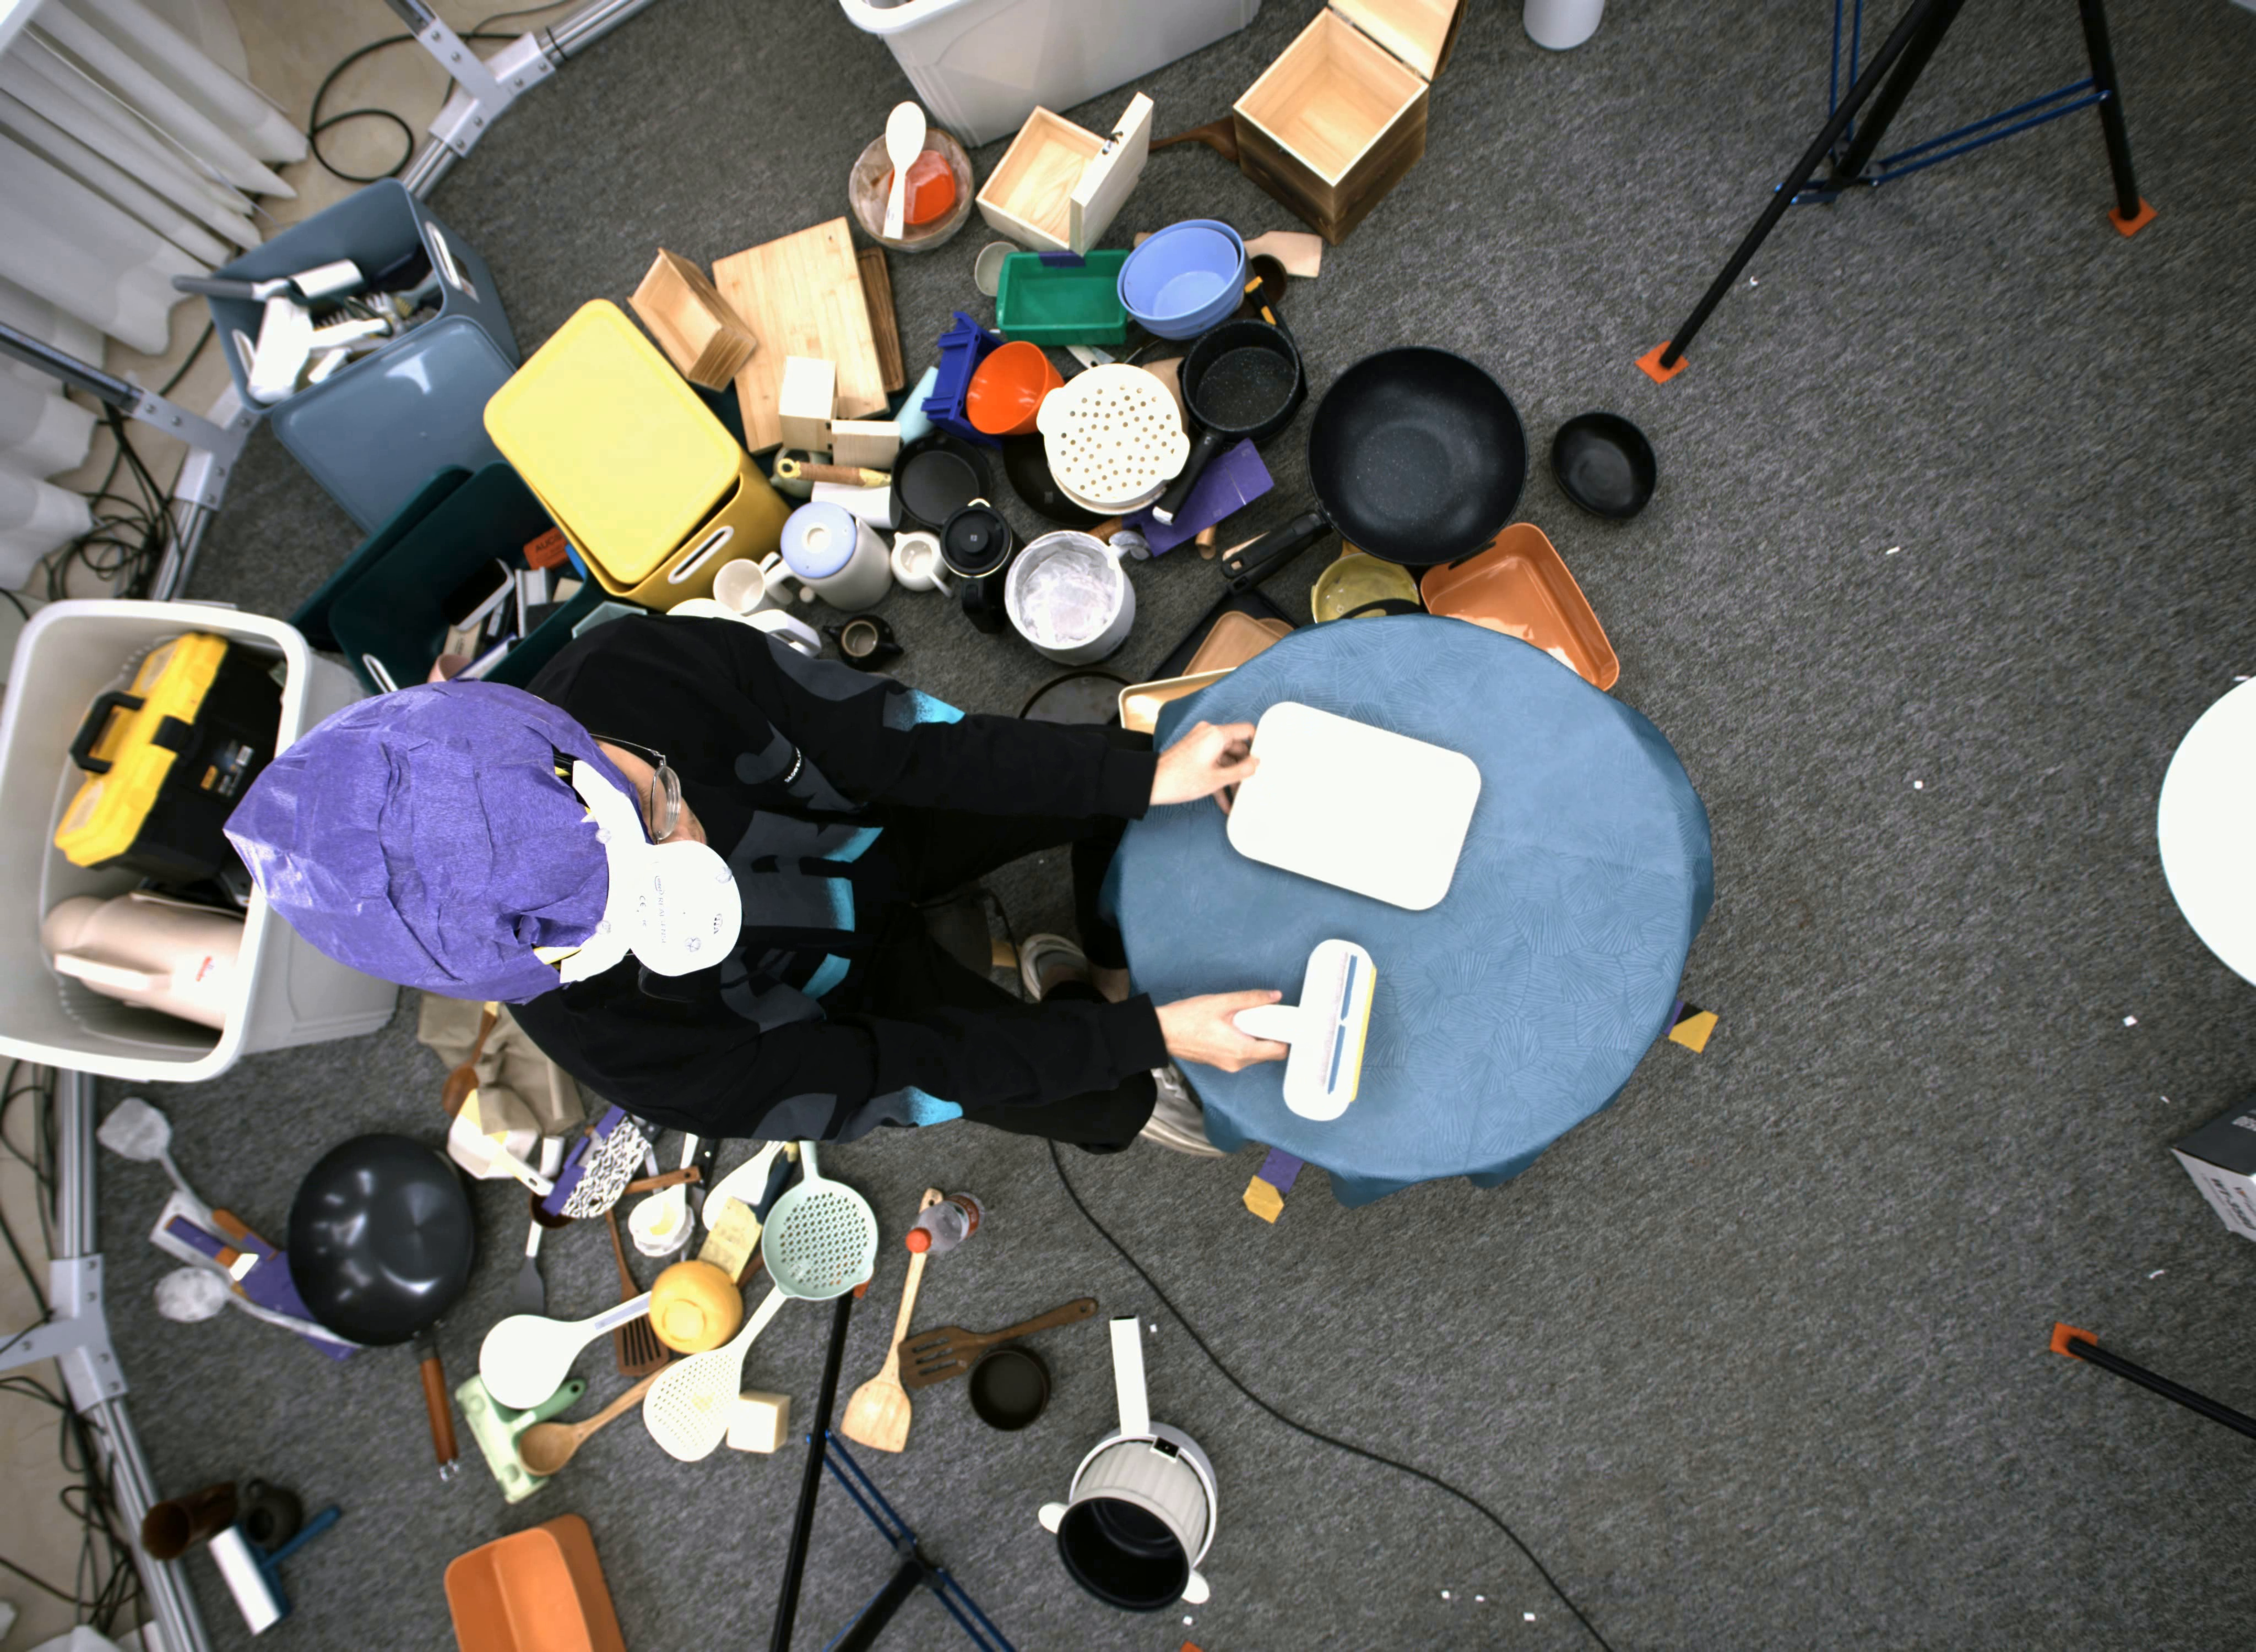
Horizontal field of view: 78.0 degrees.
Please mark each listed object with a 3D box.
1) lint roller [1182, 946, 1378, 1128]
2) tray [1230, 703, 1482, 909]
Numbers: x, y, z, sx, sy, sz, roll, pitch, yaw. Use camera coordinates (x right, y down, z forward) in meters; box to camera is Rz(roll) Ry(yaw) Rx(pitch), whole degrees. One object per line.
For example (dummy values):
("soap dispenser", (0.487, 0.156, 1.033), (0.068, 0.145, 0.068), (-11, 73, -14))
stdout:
("lint roller", (0.147, 0.203, 1.416), (0.193, 0.075, 0.189), (11, 66, 13))
("tray", (0.237, -0.023, 1.444), (0.240, 0.017, 0.172), (17, 96, 6))
